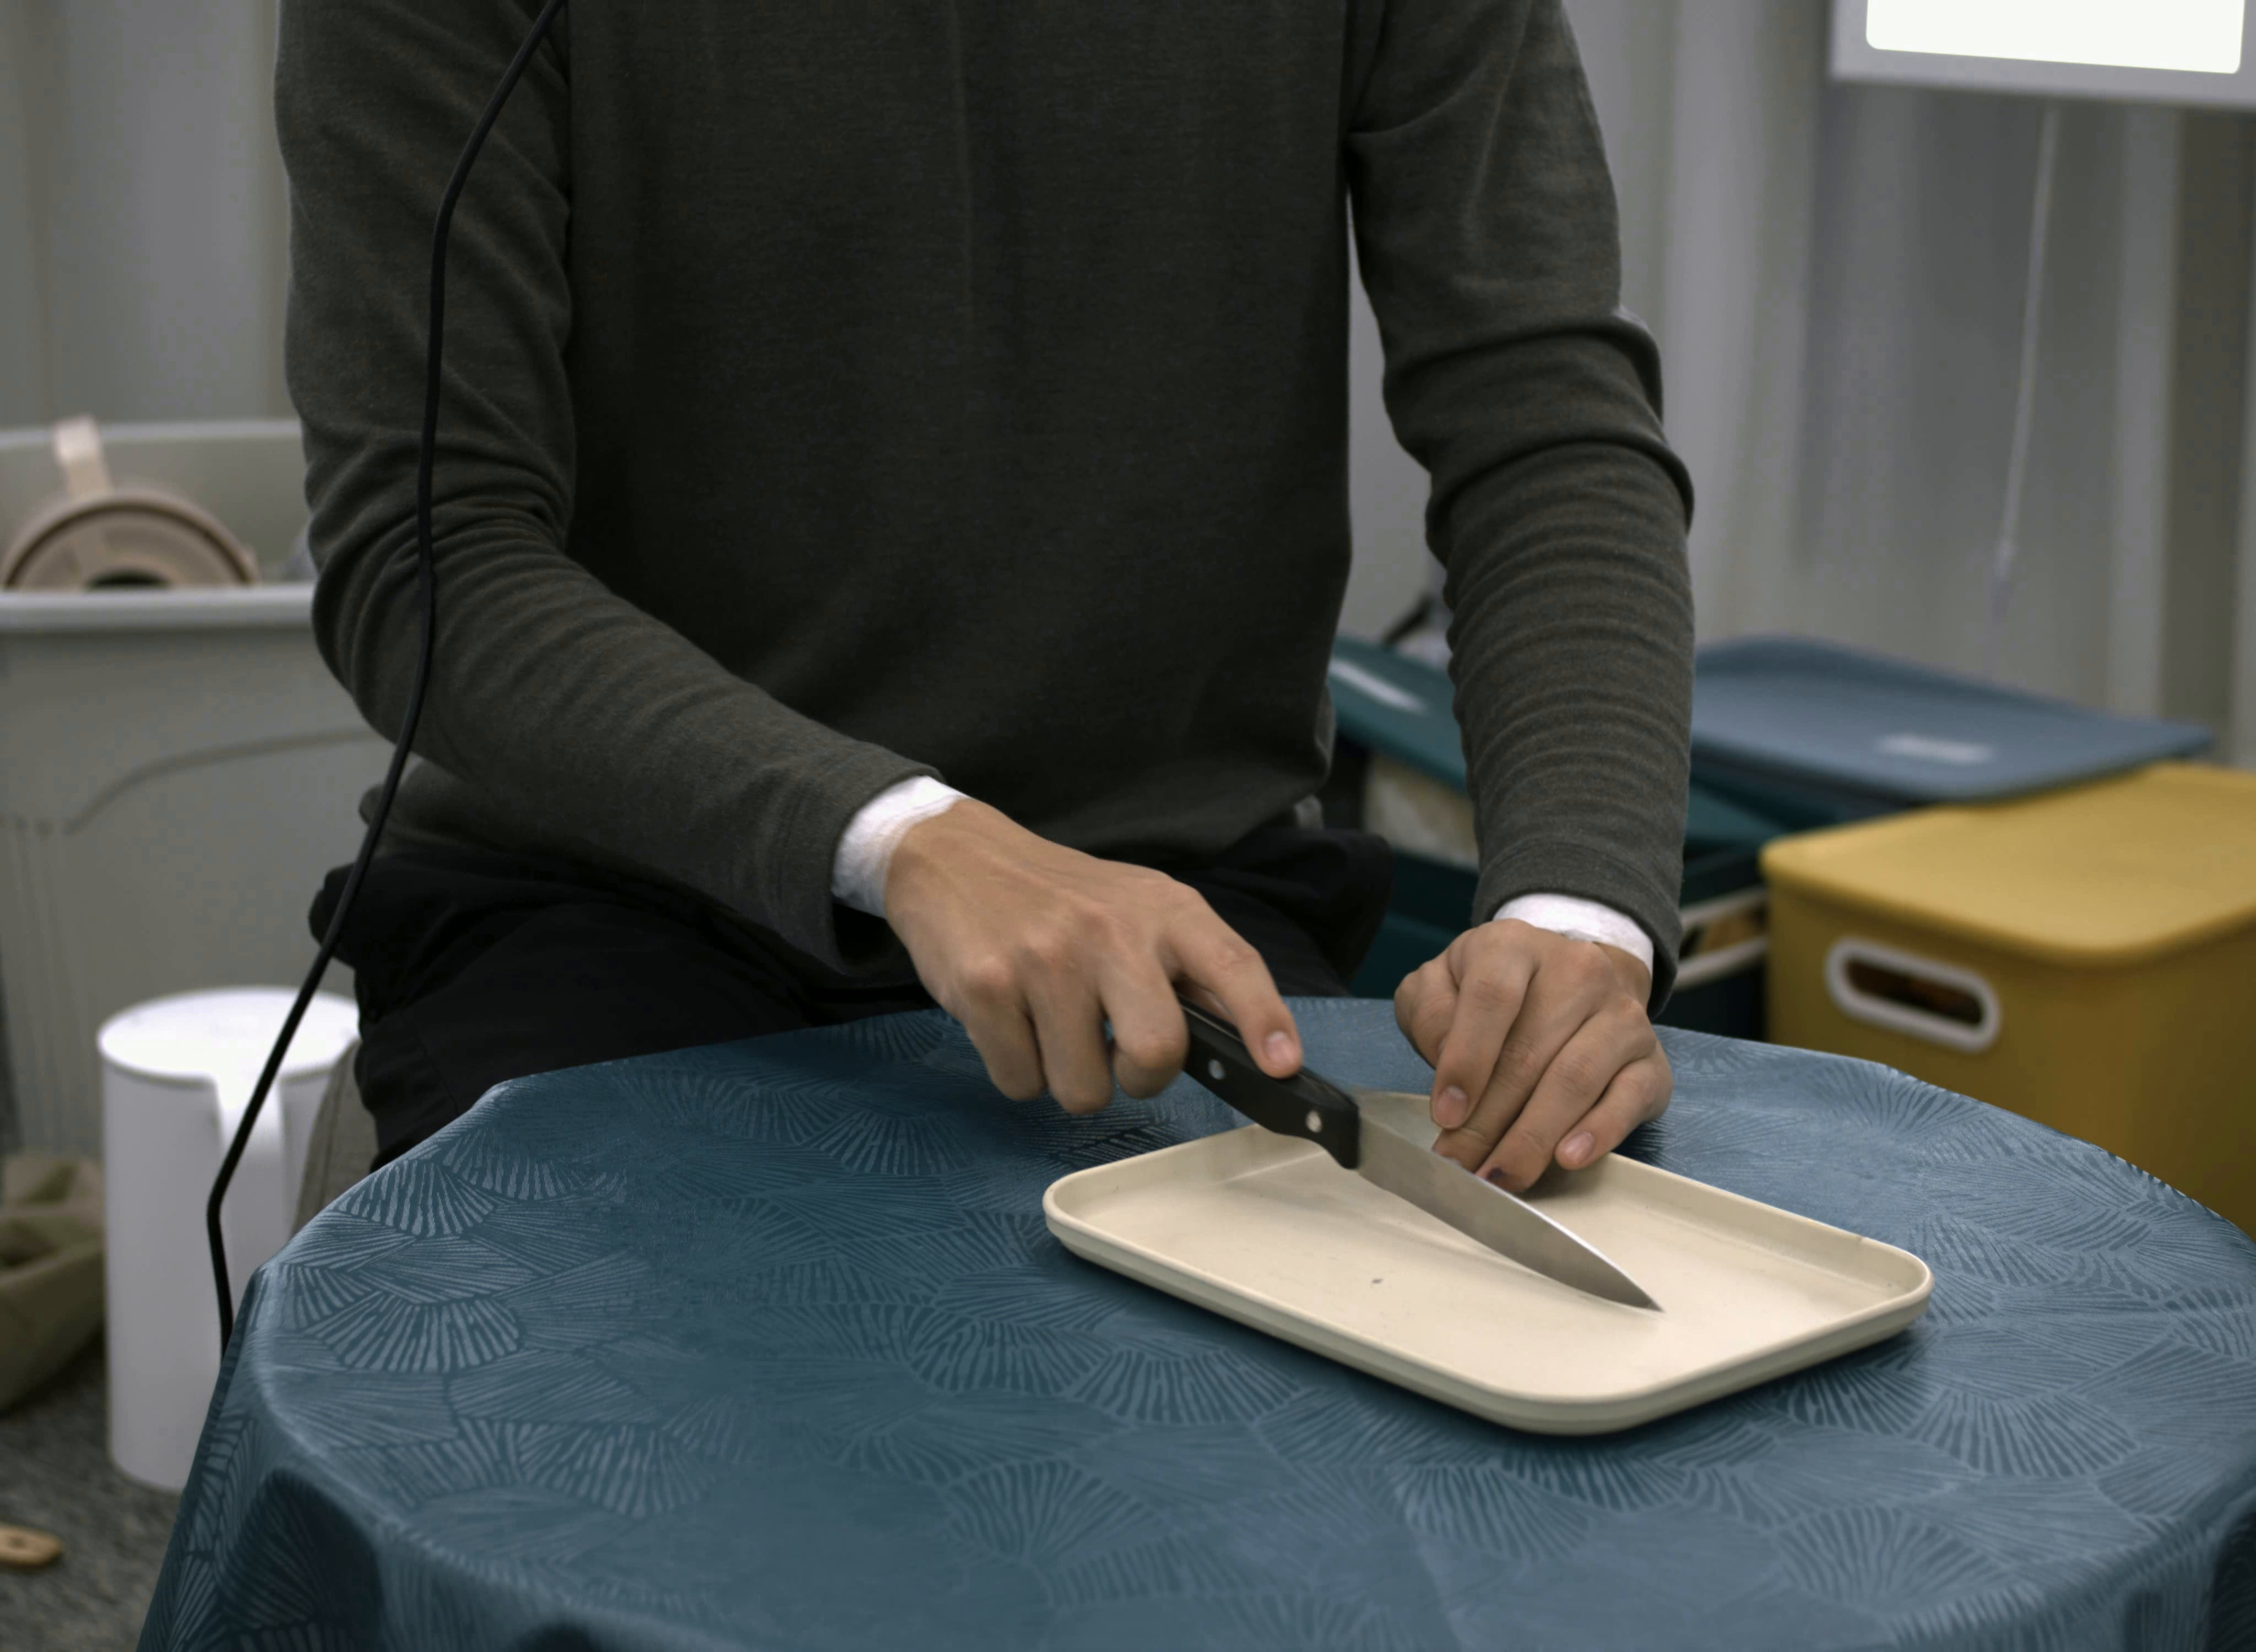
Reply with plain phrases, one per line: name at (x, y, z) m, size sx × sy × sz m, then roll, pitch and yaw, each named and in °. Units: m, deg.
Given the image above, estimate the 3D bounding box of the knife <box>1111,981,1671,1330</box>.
knife at (0.077, 0.097, 1.584) m, size 0.016 × 0.025 × 0.235 m, roll -22°, pitch 37°, yaw -37°

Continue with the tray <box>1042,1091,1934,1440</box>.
tray at (0.103, 0.127, 1.544) m, size 0.172 × 0.017 × 0.236 m, roll -13°, pitch 21°, yaw -39°
